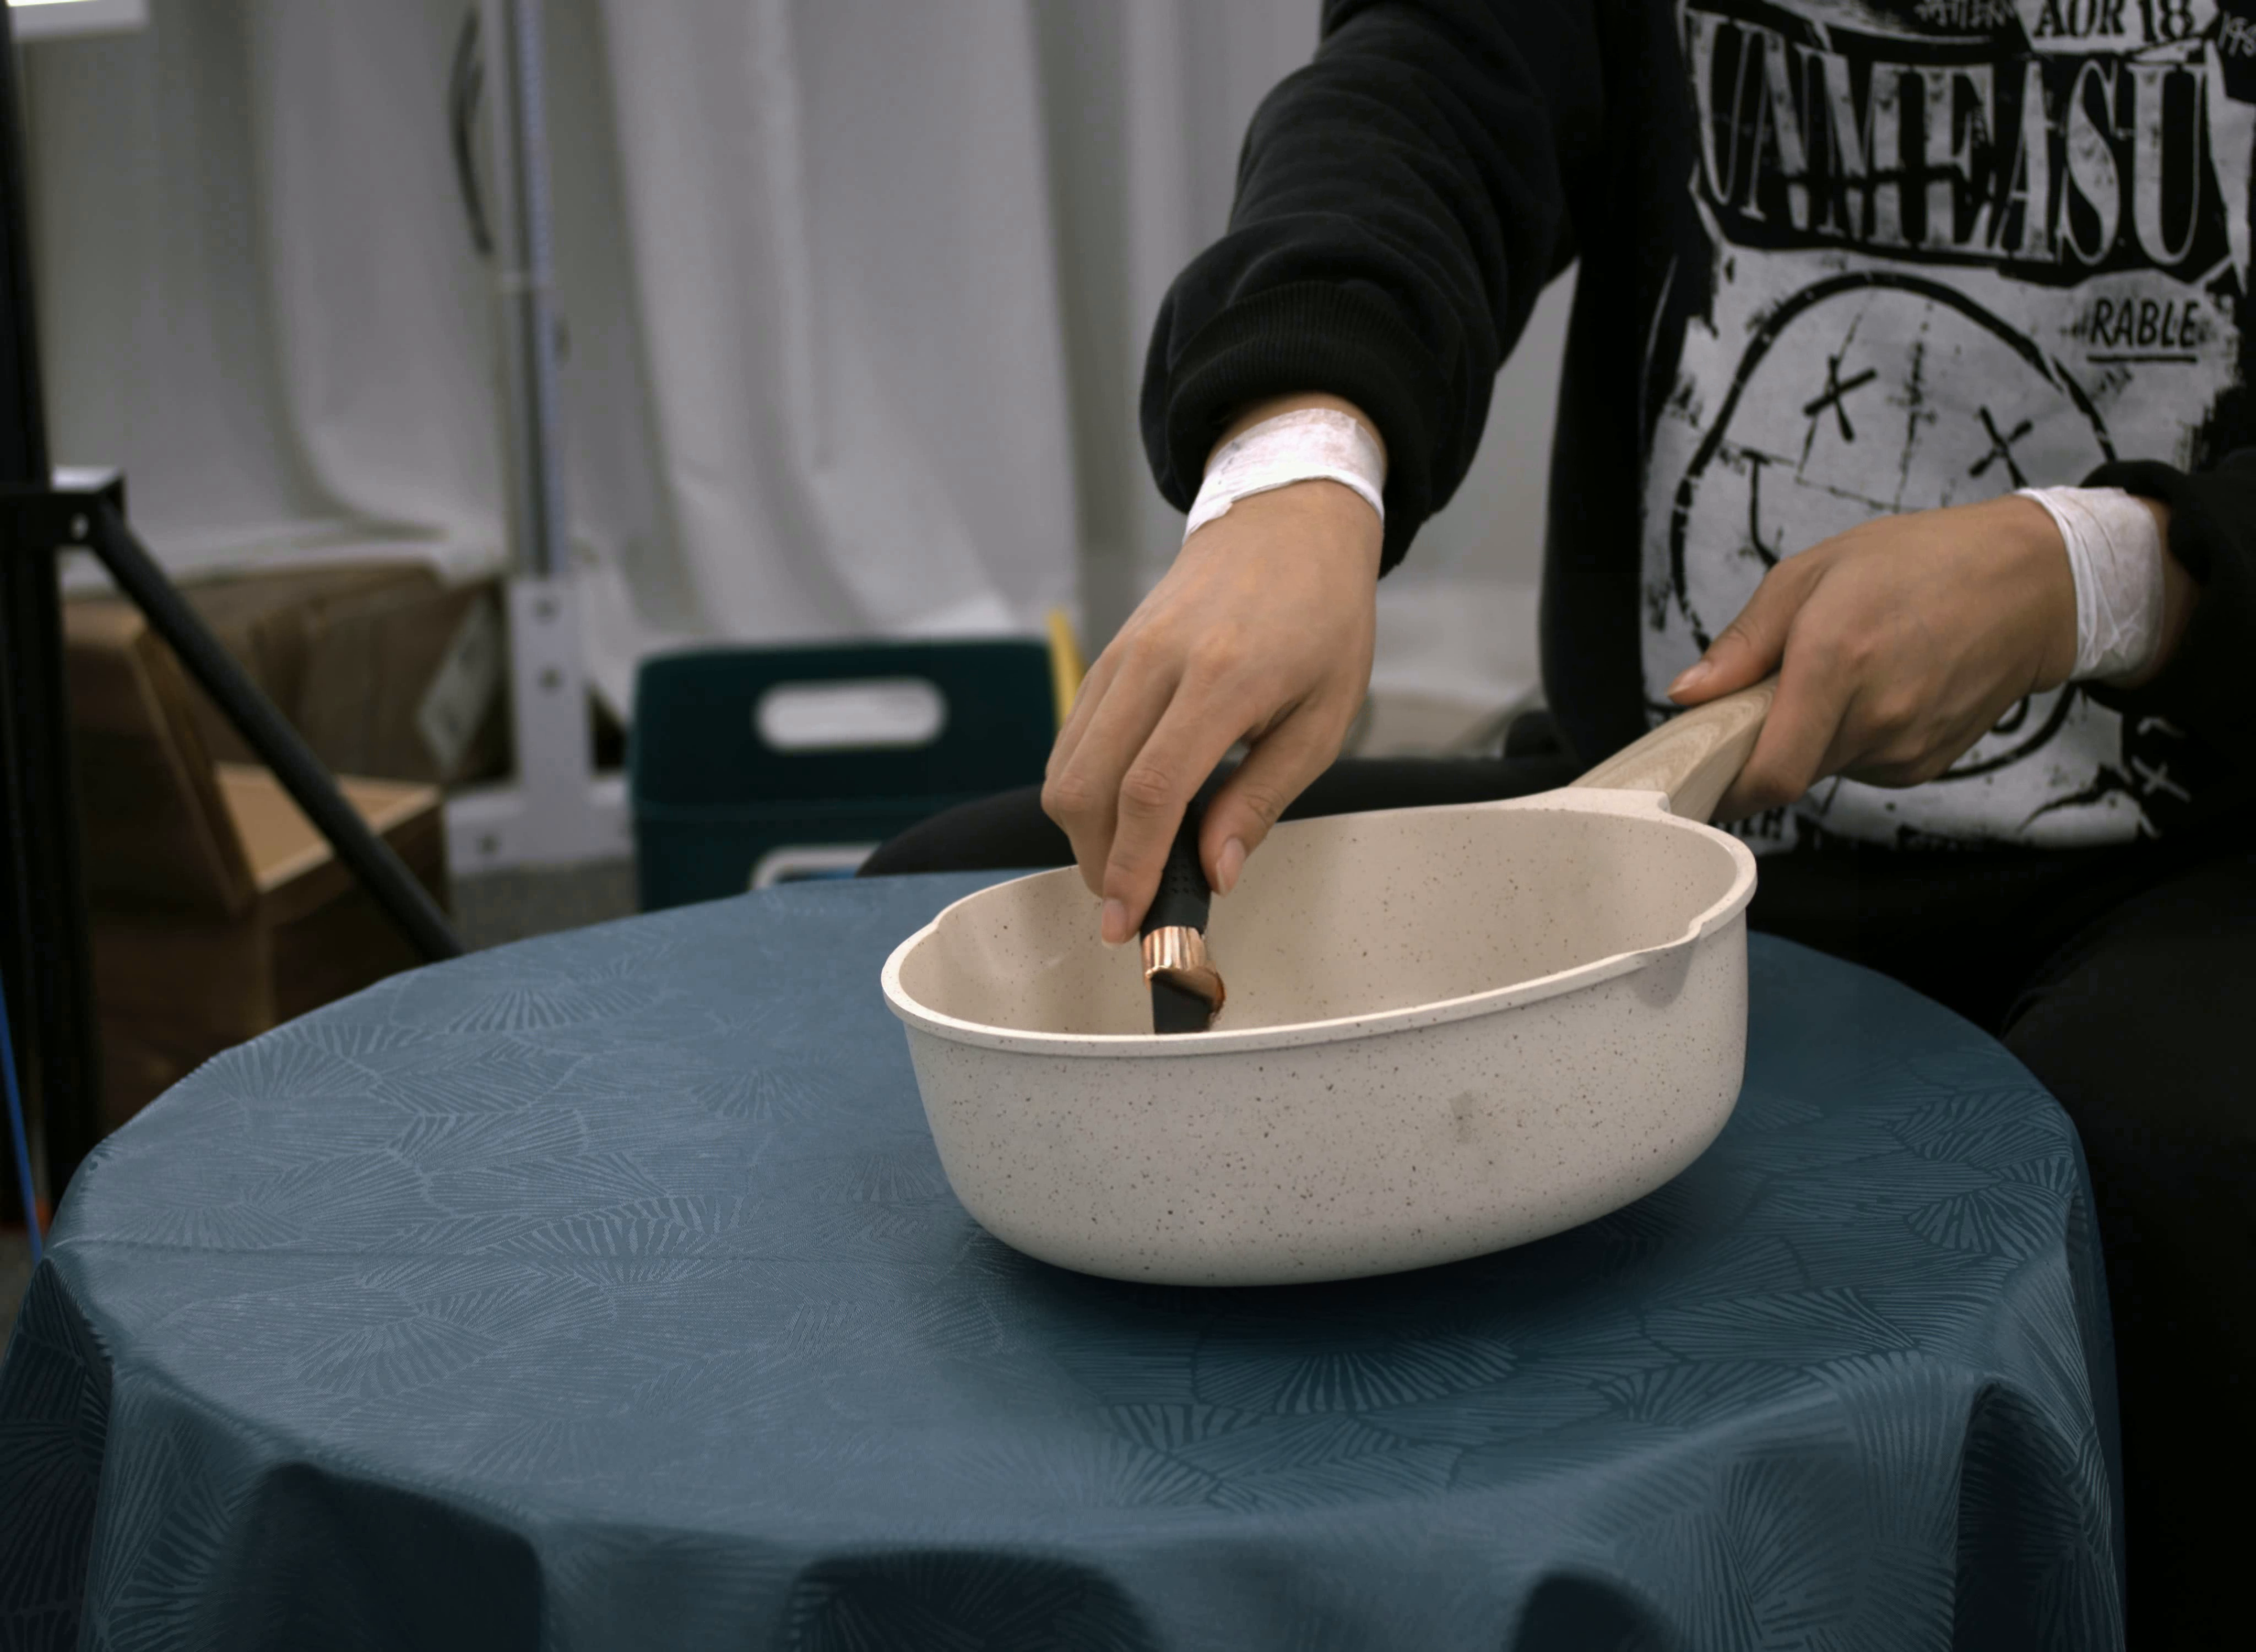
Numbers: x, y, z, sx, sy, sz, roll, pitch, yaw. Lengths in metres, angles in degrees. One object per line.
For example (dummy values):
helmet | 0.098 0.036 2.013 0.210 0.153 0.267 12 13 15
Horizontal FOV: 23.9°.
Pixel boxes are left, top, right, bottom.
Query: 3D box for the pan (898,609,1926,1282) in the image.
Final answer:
pan | 0.121 0.033 1.574 0.269 0.102 0.425 1 15 42

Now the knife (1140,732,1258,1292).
knife | 0.020 0.050 1.525 0.026 0.017 0.228 16 38 -18
